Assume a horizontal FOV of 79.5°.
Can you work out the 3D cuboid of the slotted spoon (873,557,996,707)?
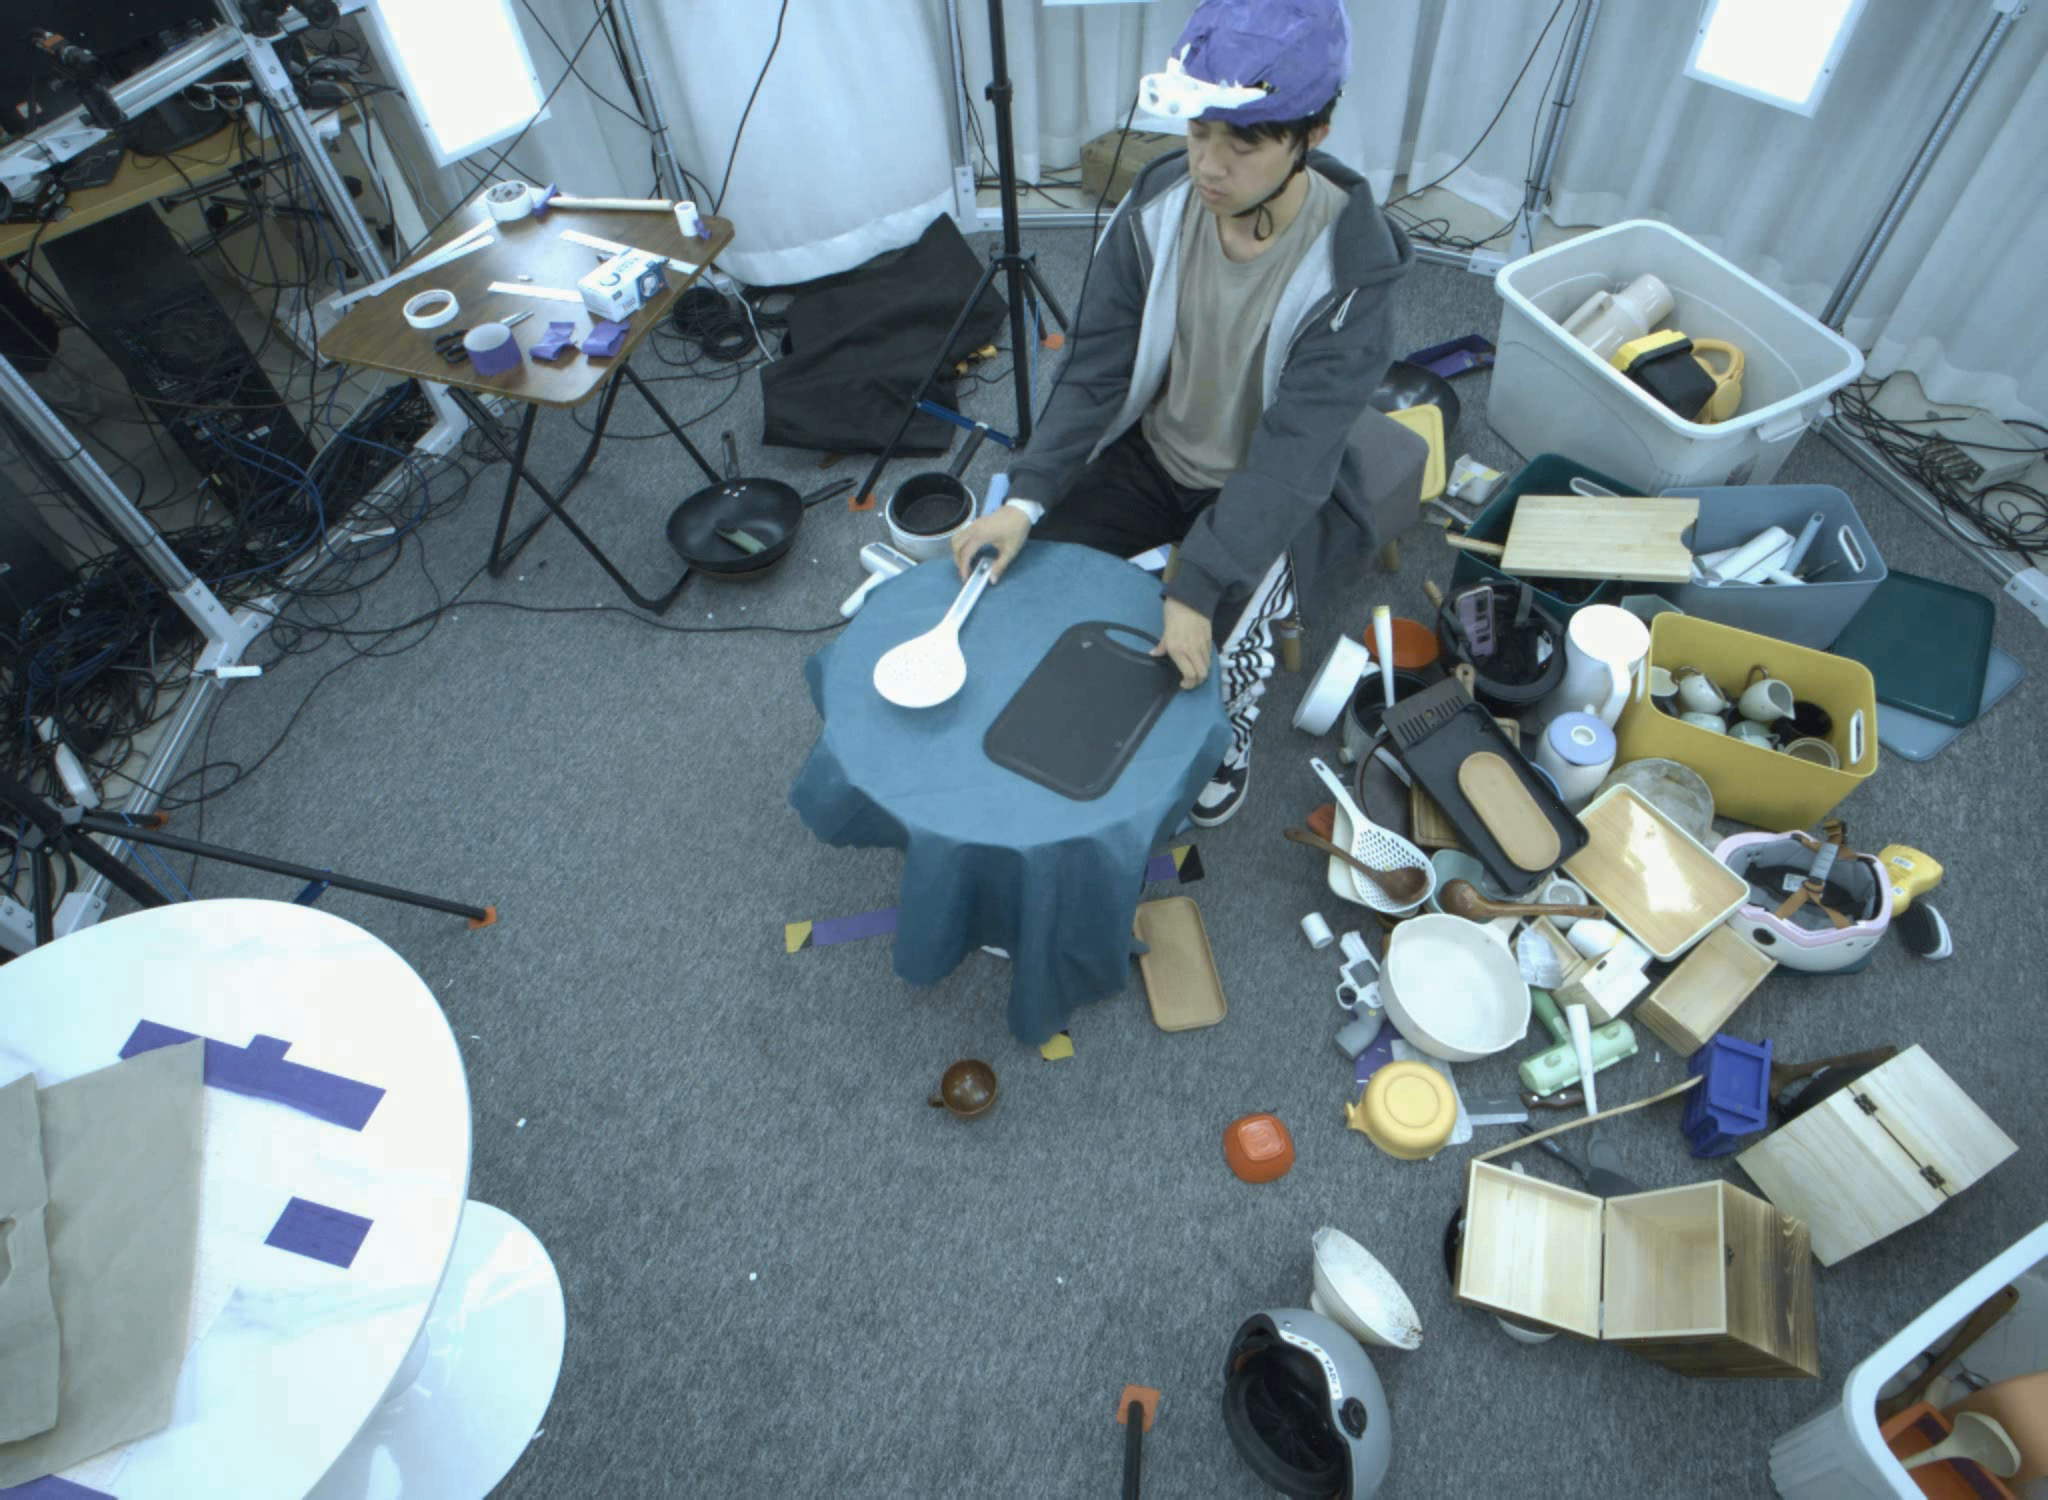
[{"bbox_3d":[-0.119,-0.187,1.899,0.135,0.046,0.349,16,56,12],"label":"slotted spoon"}]

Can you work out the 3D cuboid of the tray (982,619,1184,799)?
[{"bbox_3d":[0.094,-0.075,1.836,0.208,0.010,0.326,26,59,19],"label":"tray"}]
